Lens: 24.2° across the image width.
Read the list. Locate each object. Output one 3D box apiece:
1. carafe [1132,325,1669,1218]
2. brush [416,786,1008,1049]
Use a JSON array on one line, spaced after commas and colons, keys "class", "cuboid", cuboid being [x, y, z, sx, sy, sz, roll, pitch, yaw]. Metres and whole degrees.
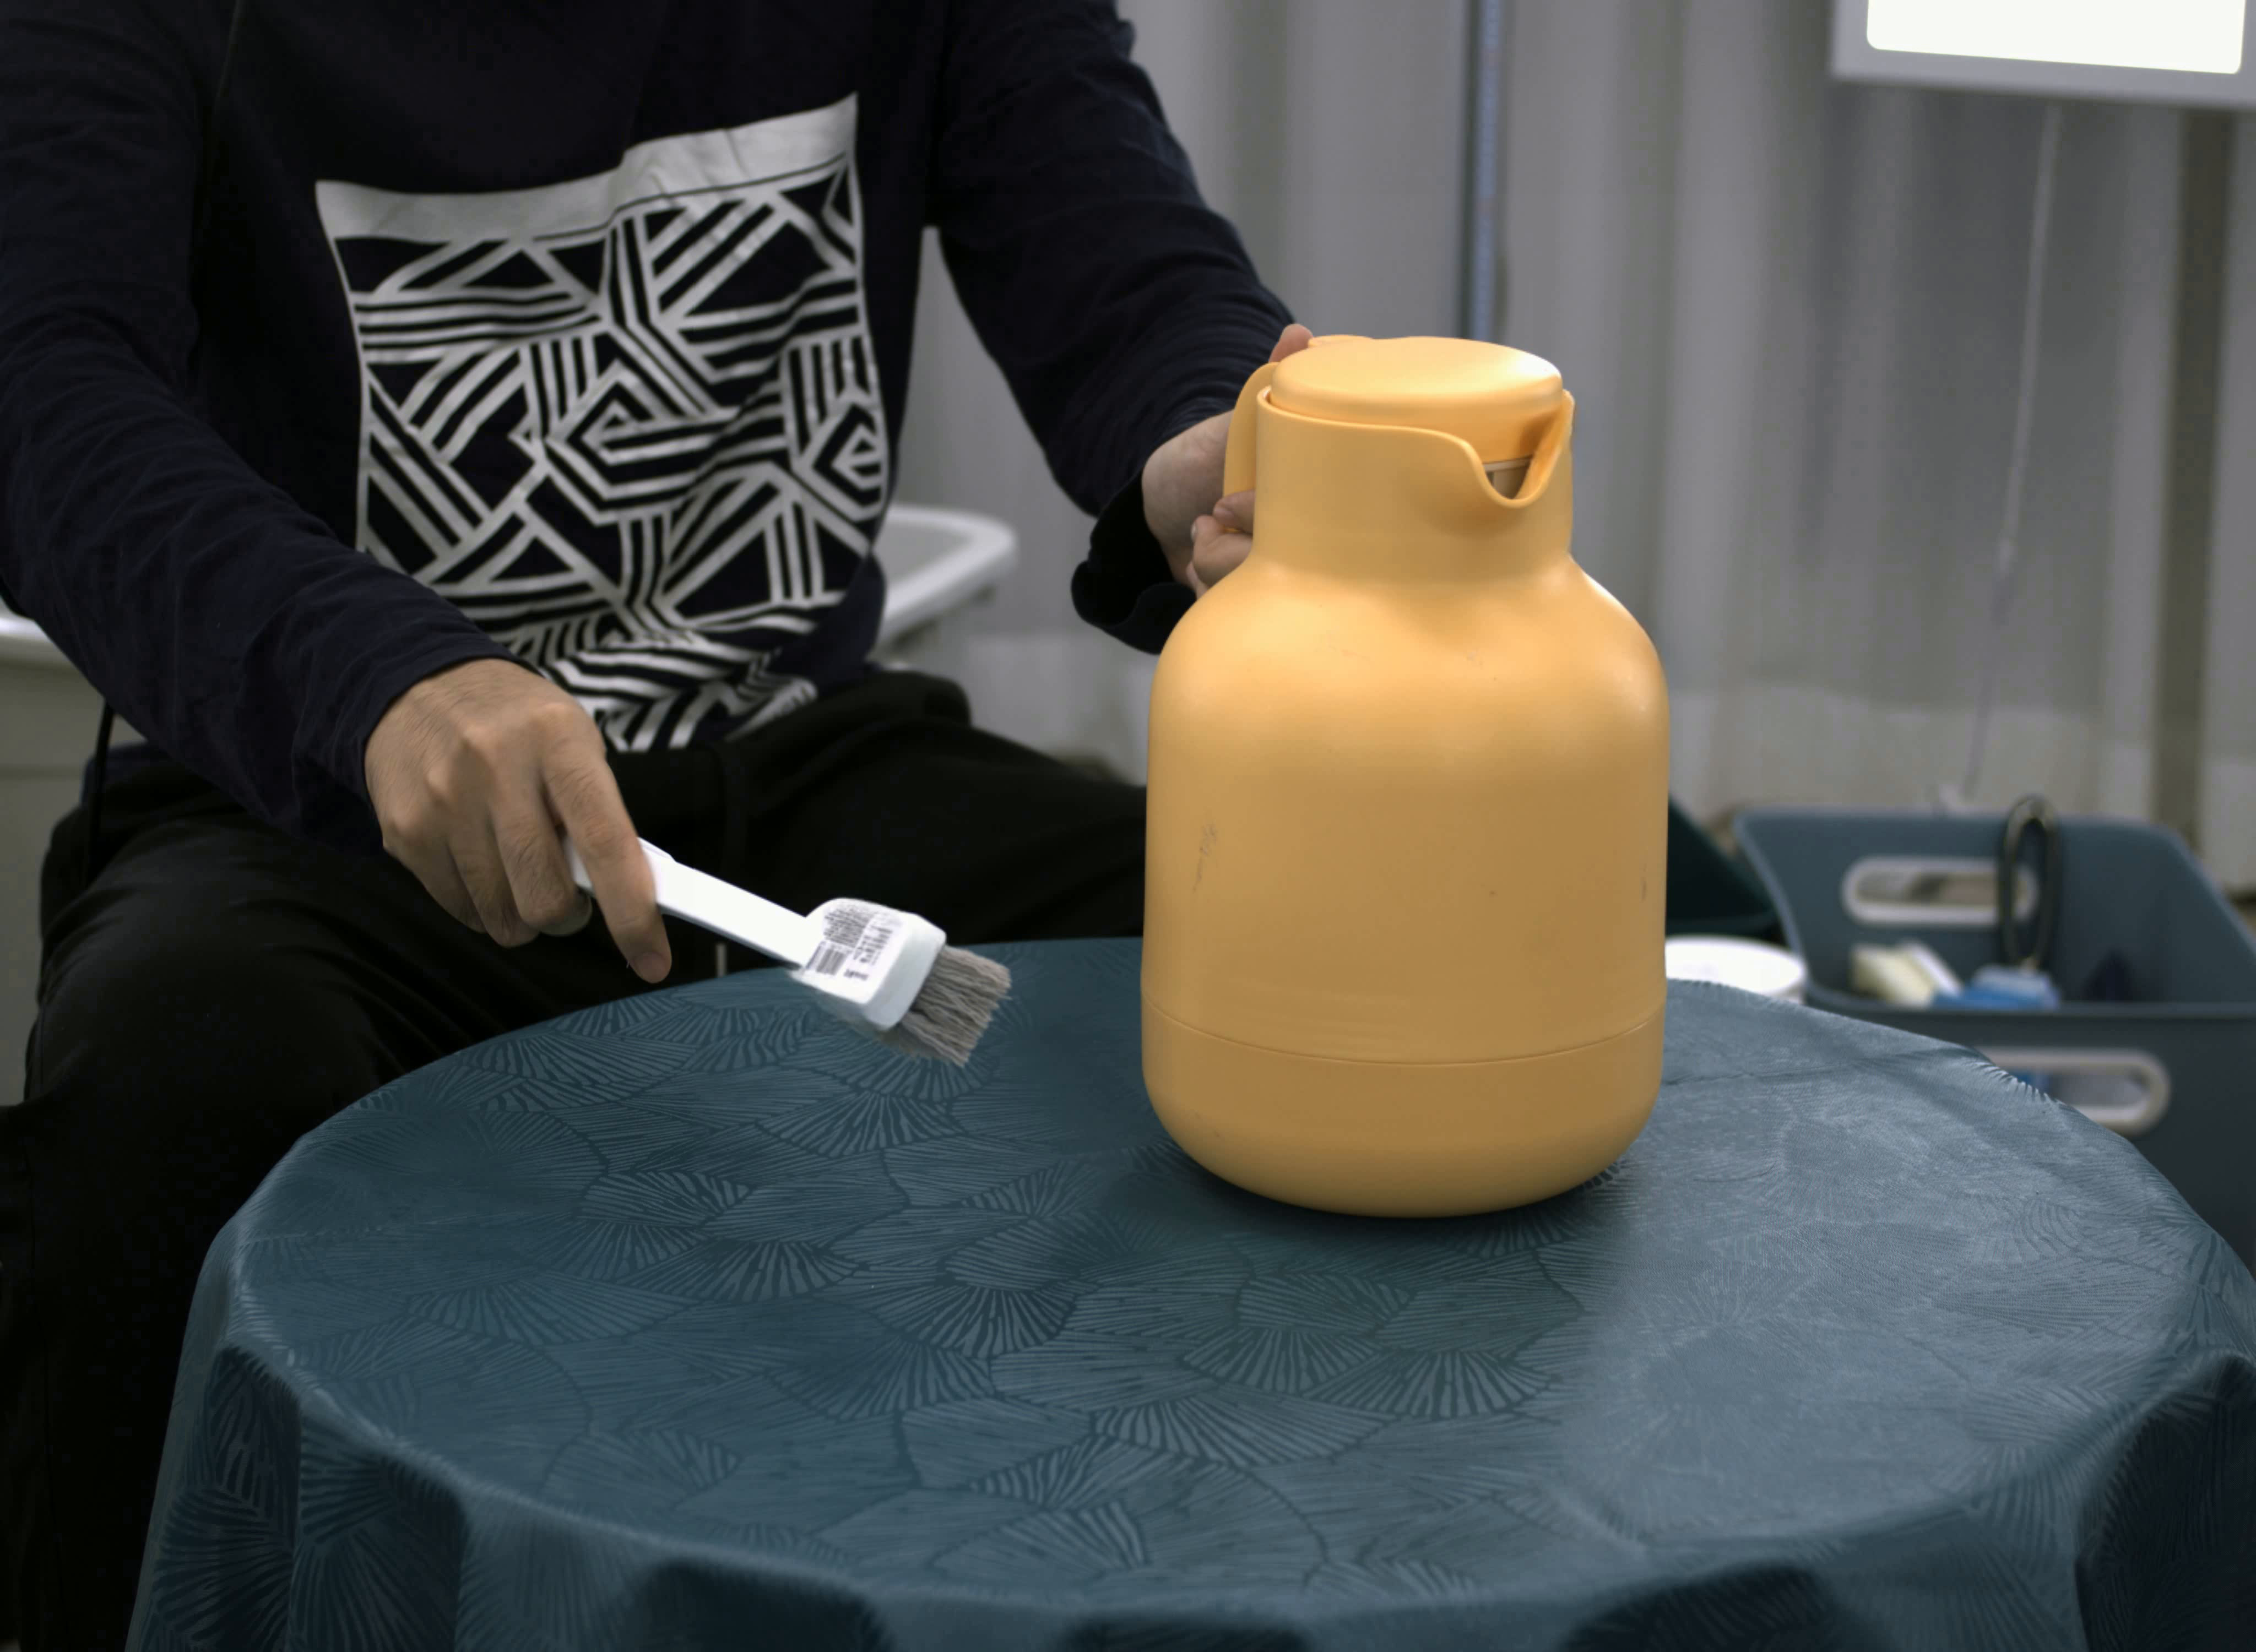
[{"class": "carafe", "cuboid": [0.080, -0.025, 1.634, 0.164, 0.262, 0.200, -3, 17, -21]}, {"class": "brush", "cuboid": [-0.126, 0.026, 1.577, 0.240, 0.034, 0.051, 14, -16, 44]}]
